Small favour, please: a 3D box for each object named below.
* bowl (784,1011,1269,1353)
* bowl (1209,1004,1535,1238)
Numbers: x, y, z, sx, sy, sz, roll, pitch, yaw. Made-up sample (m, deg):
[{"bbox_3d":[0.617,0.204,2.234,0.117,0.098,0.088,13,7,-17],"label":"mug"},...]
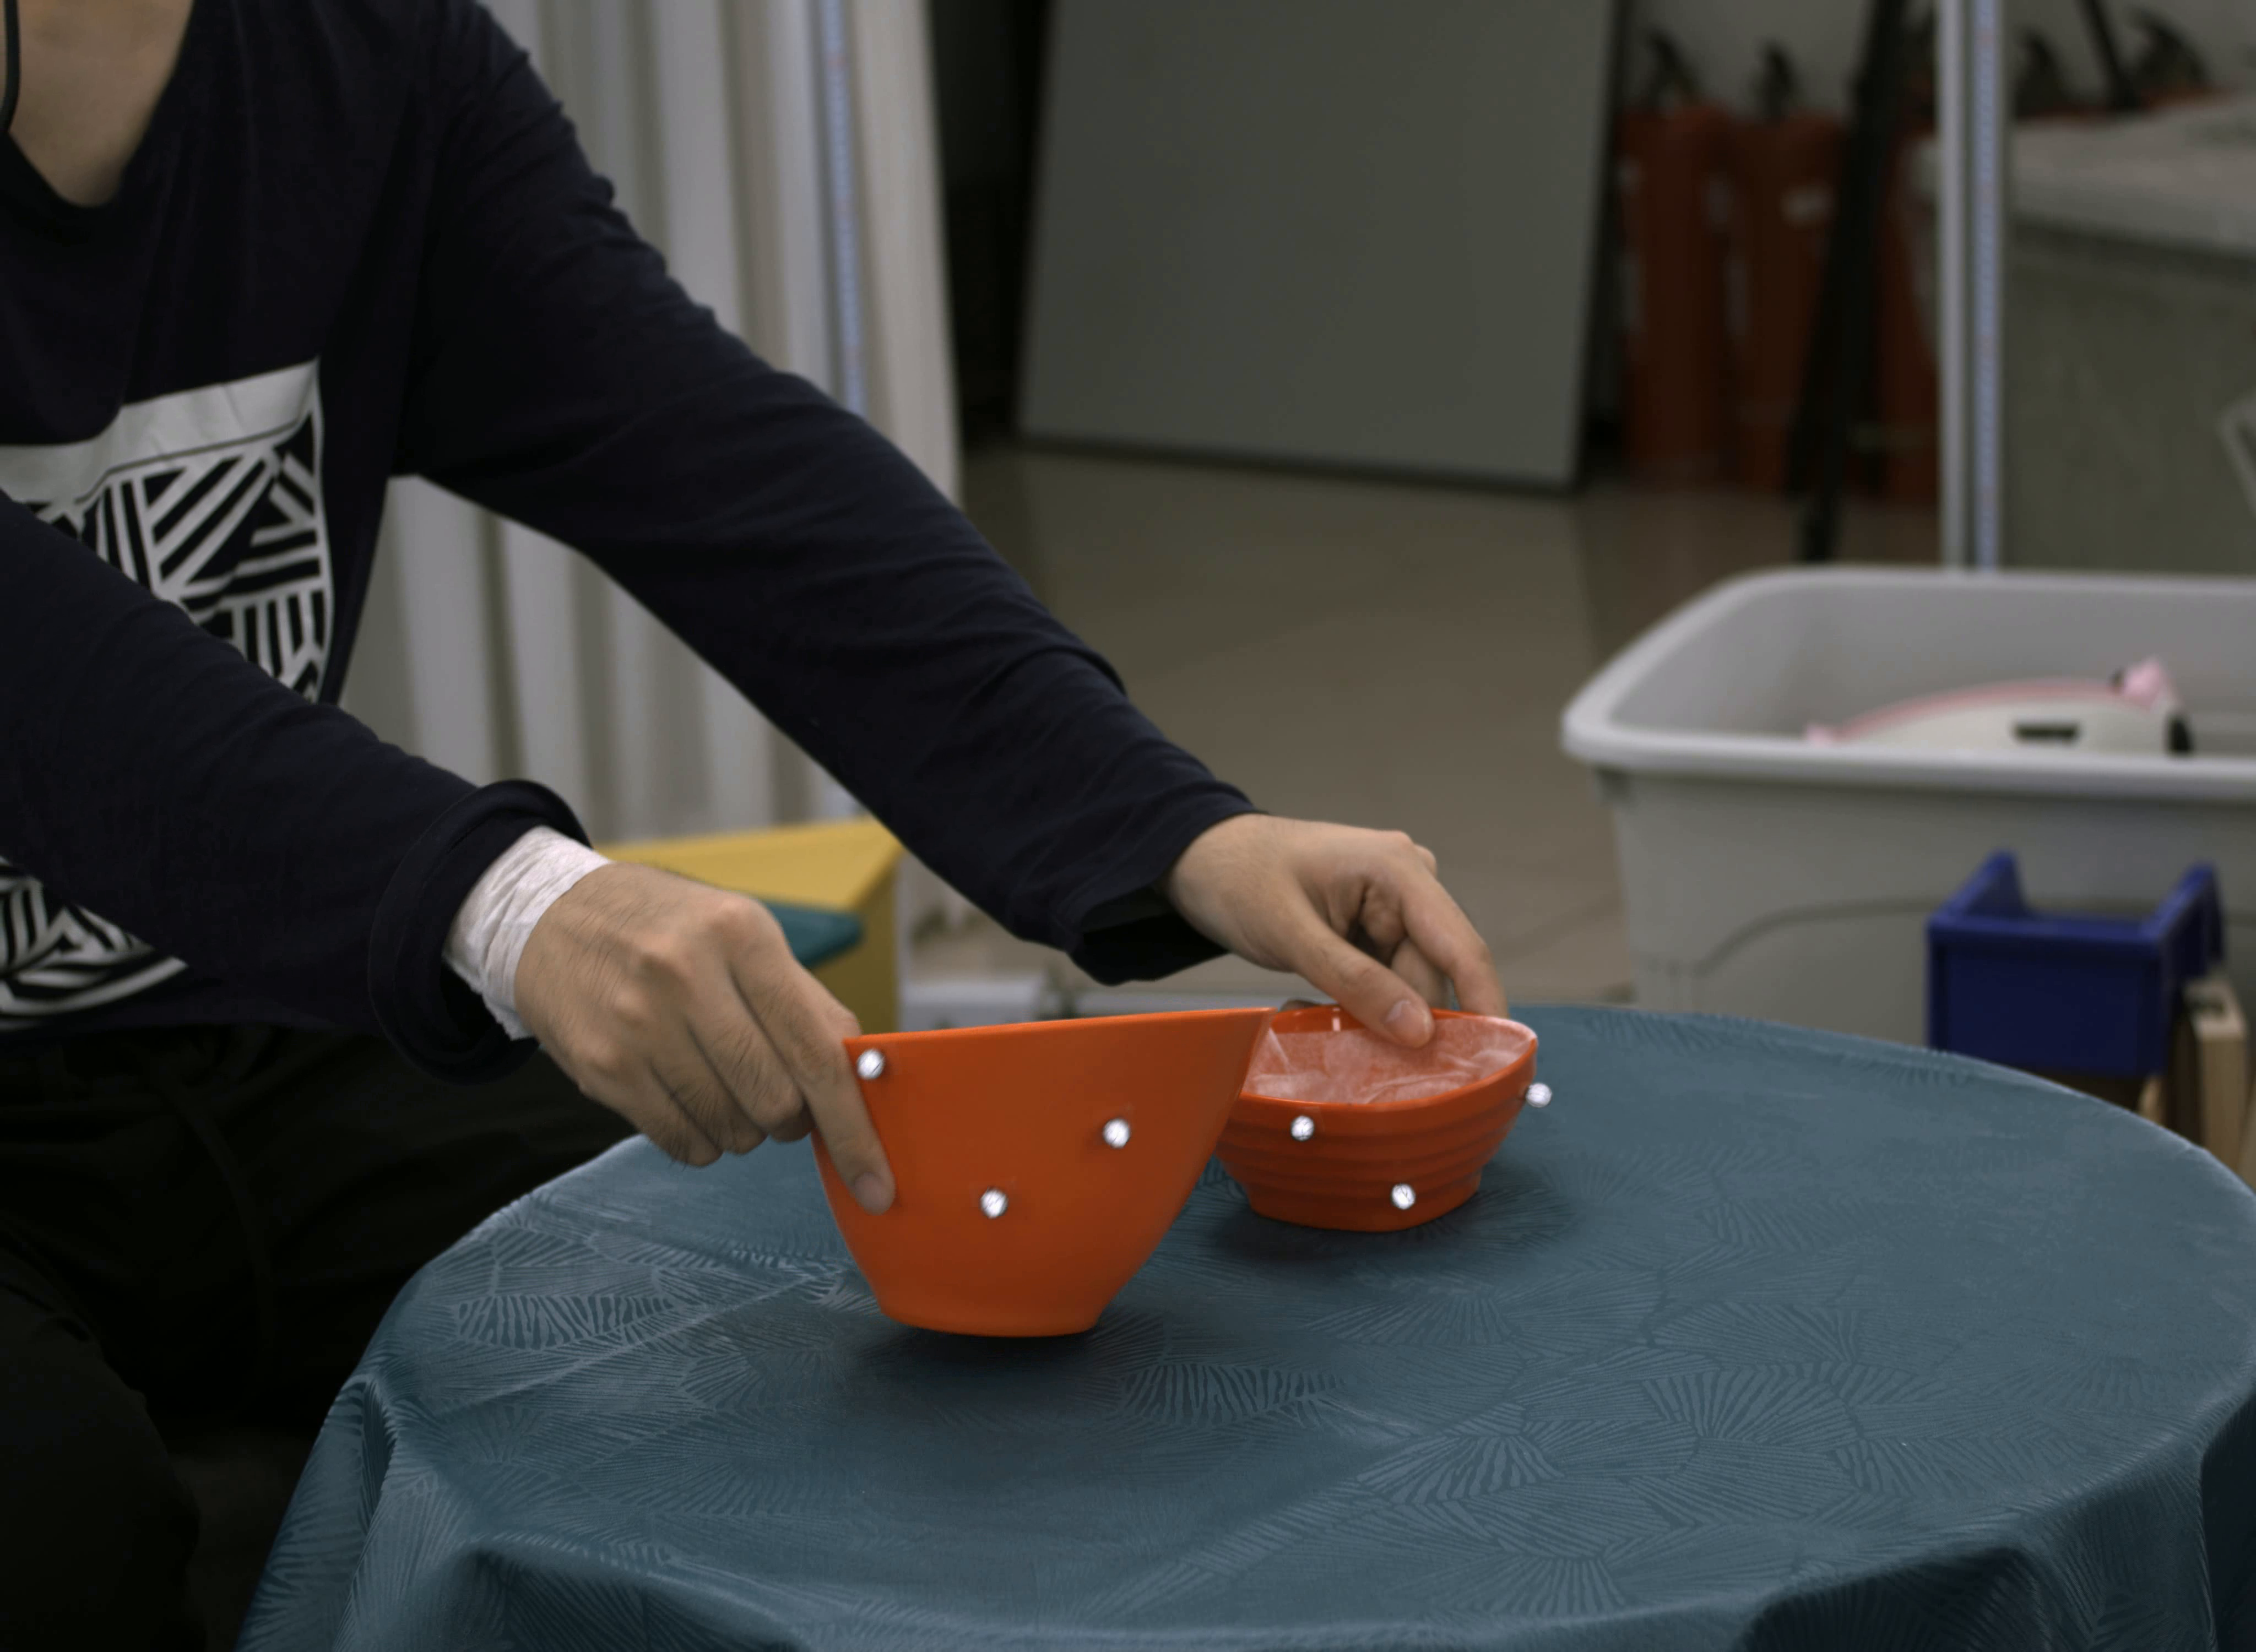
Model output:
[{"bbox_3d":[-0.032,0.103,1.625,0.146,0.106,0.148,2,4,-1],"label":"bowl"},{"bbox_3d":[0.076,0.098,1.745,0.117,0.052,0.119,-6,14,1],"label":"bowl"}]
